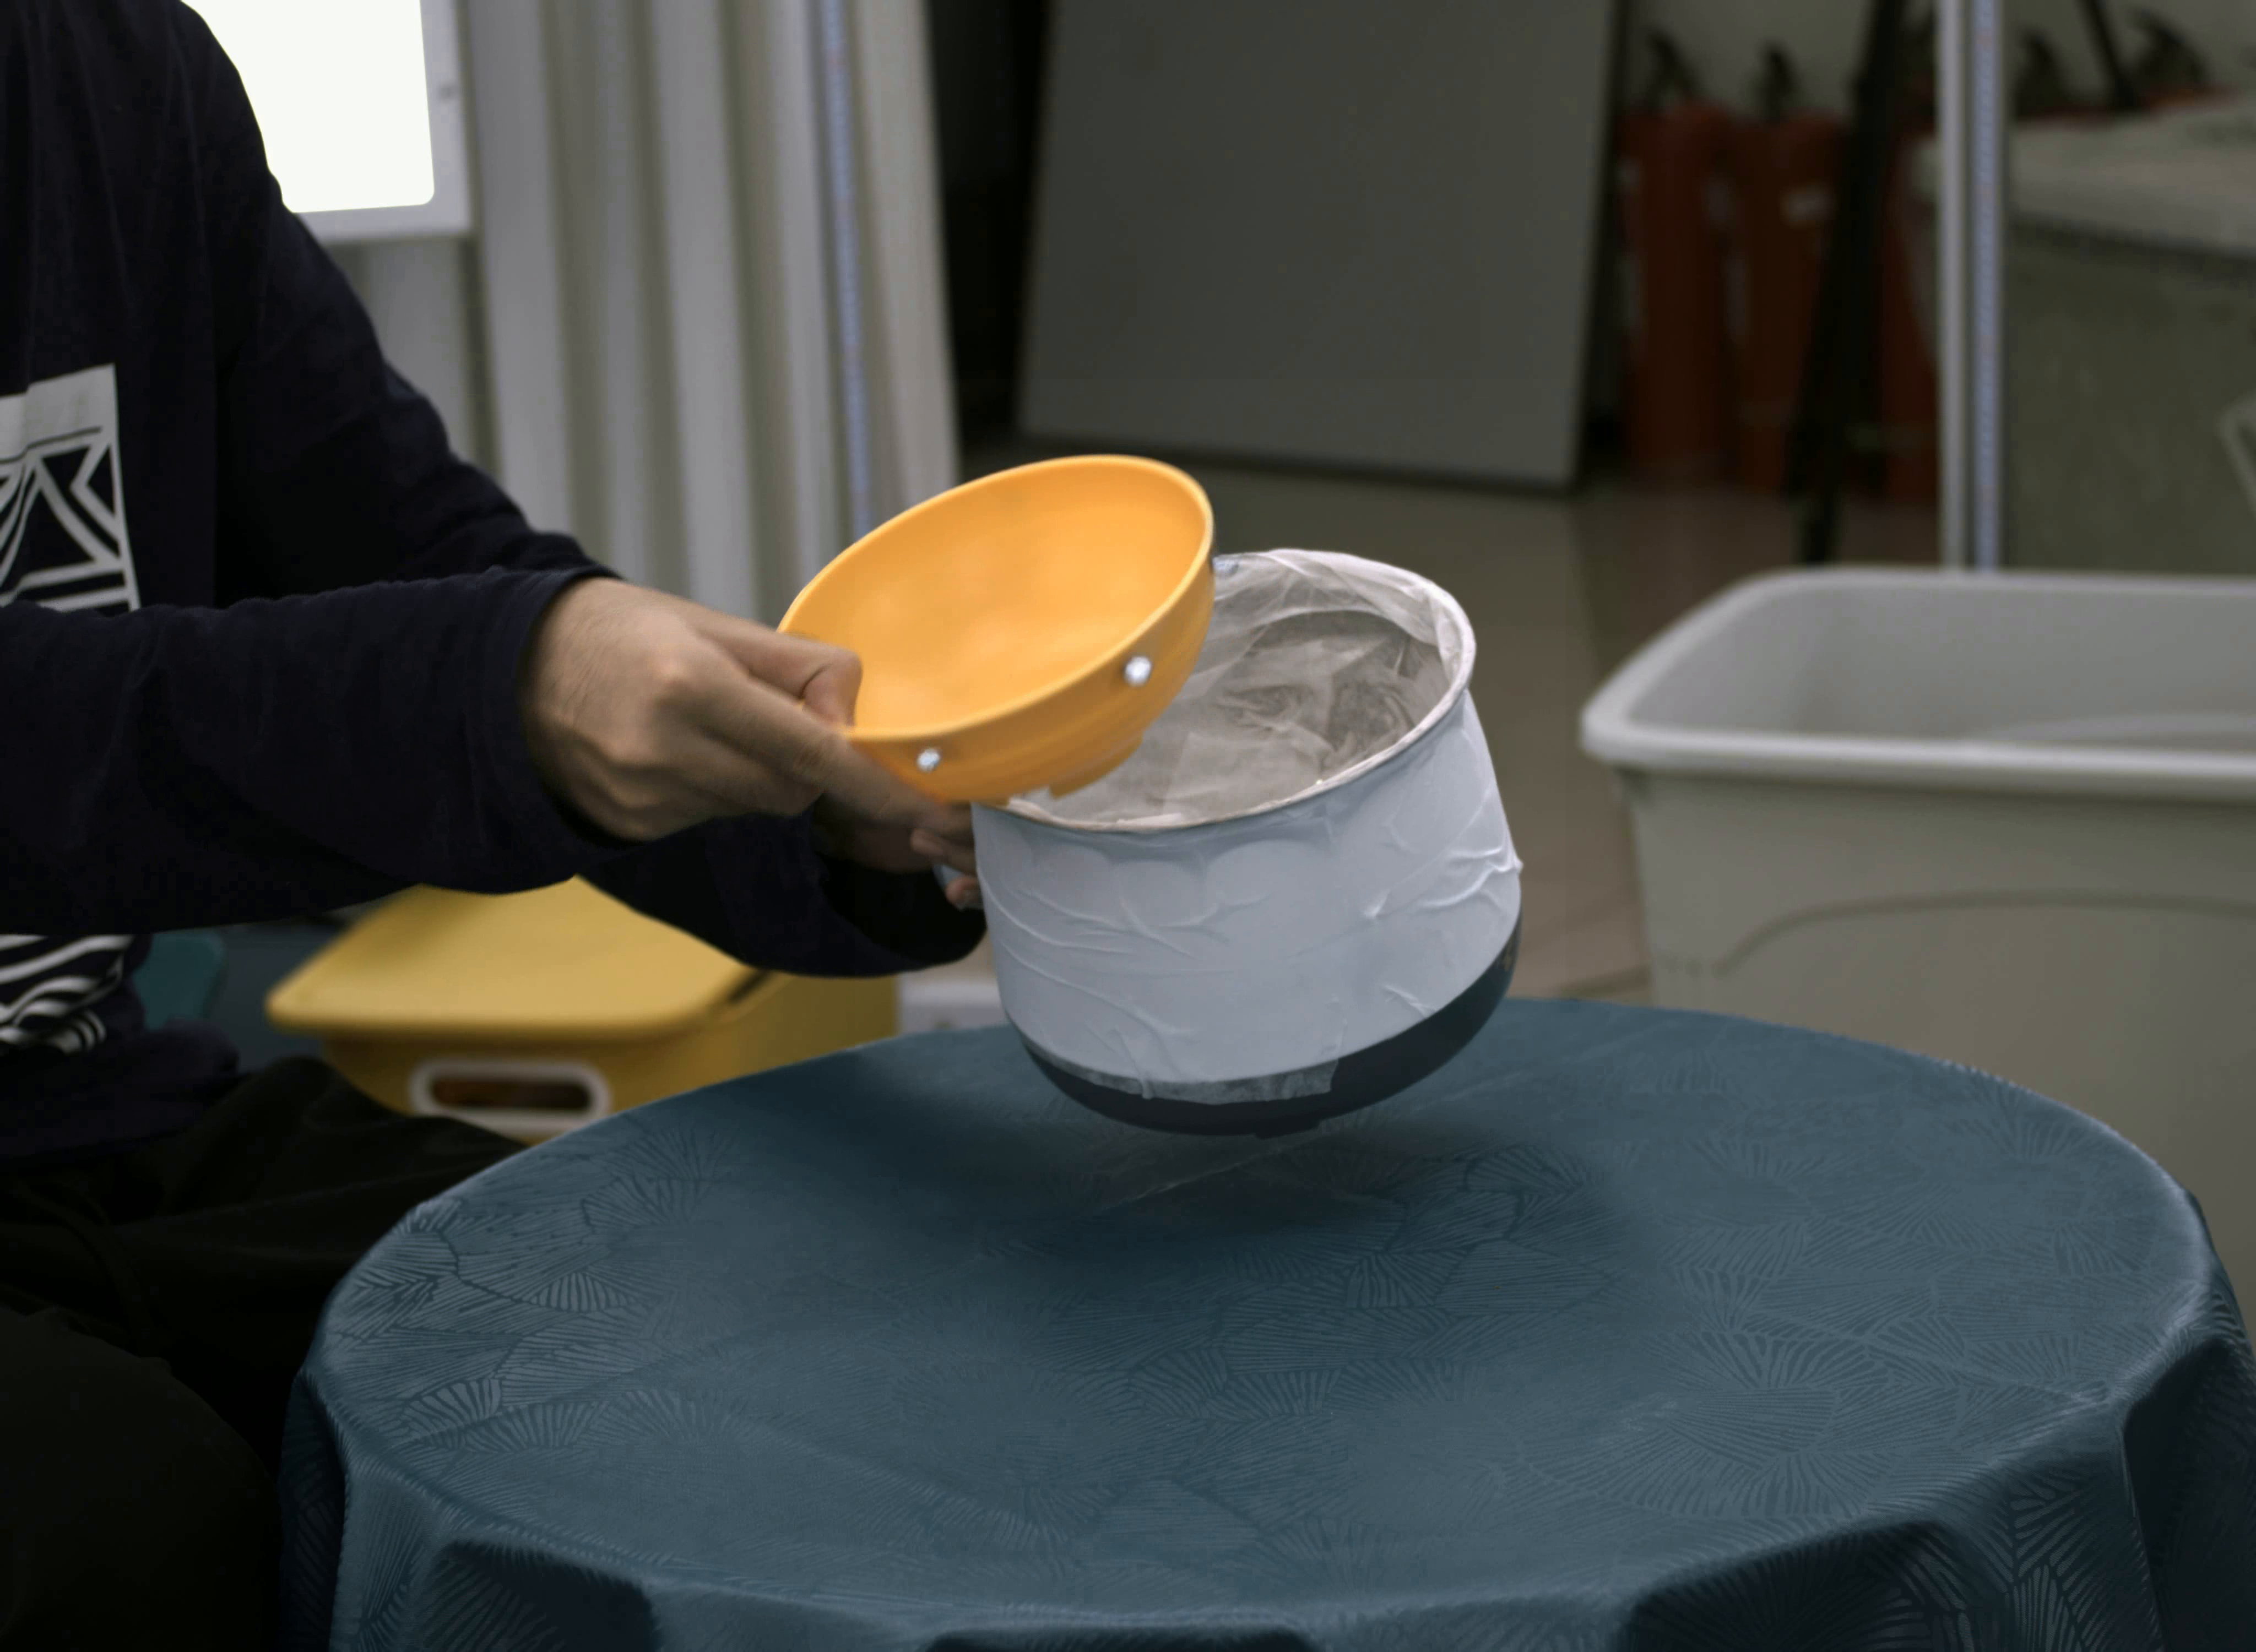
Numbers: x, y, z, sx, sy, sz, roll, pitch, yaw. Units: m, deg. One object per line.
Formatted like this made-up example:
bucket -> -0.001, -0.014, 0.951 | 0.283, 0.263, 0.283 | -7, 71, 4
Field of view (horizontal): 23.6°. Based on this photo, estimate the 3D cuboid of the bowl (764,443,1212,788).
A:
bowl -> -0.034, -0.054, 1.638 | 0.144, 0.060, 0.146 | -18, 28, 9

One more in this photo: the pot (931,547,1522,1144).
pot -> 0.017, 0.004, 1.785 | 0.236, 0.137, 0.176 | 14, 39, 43
